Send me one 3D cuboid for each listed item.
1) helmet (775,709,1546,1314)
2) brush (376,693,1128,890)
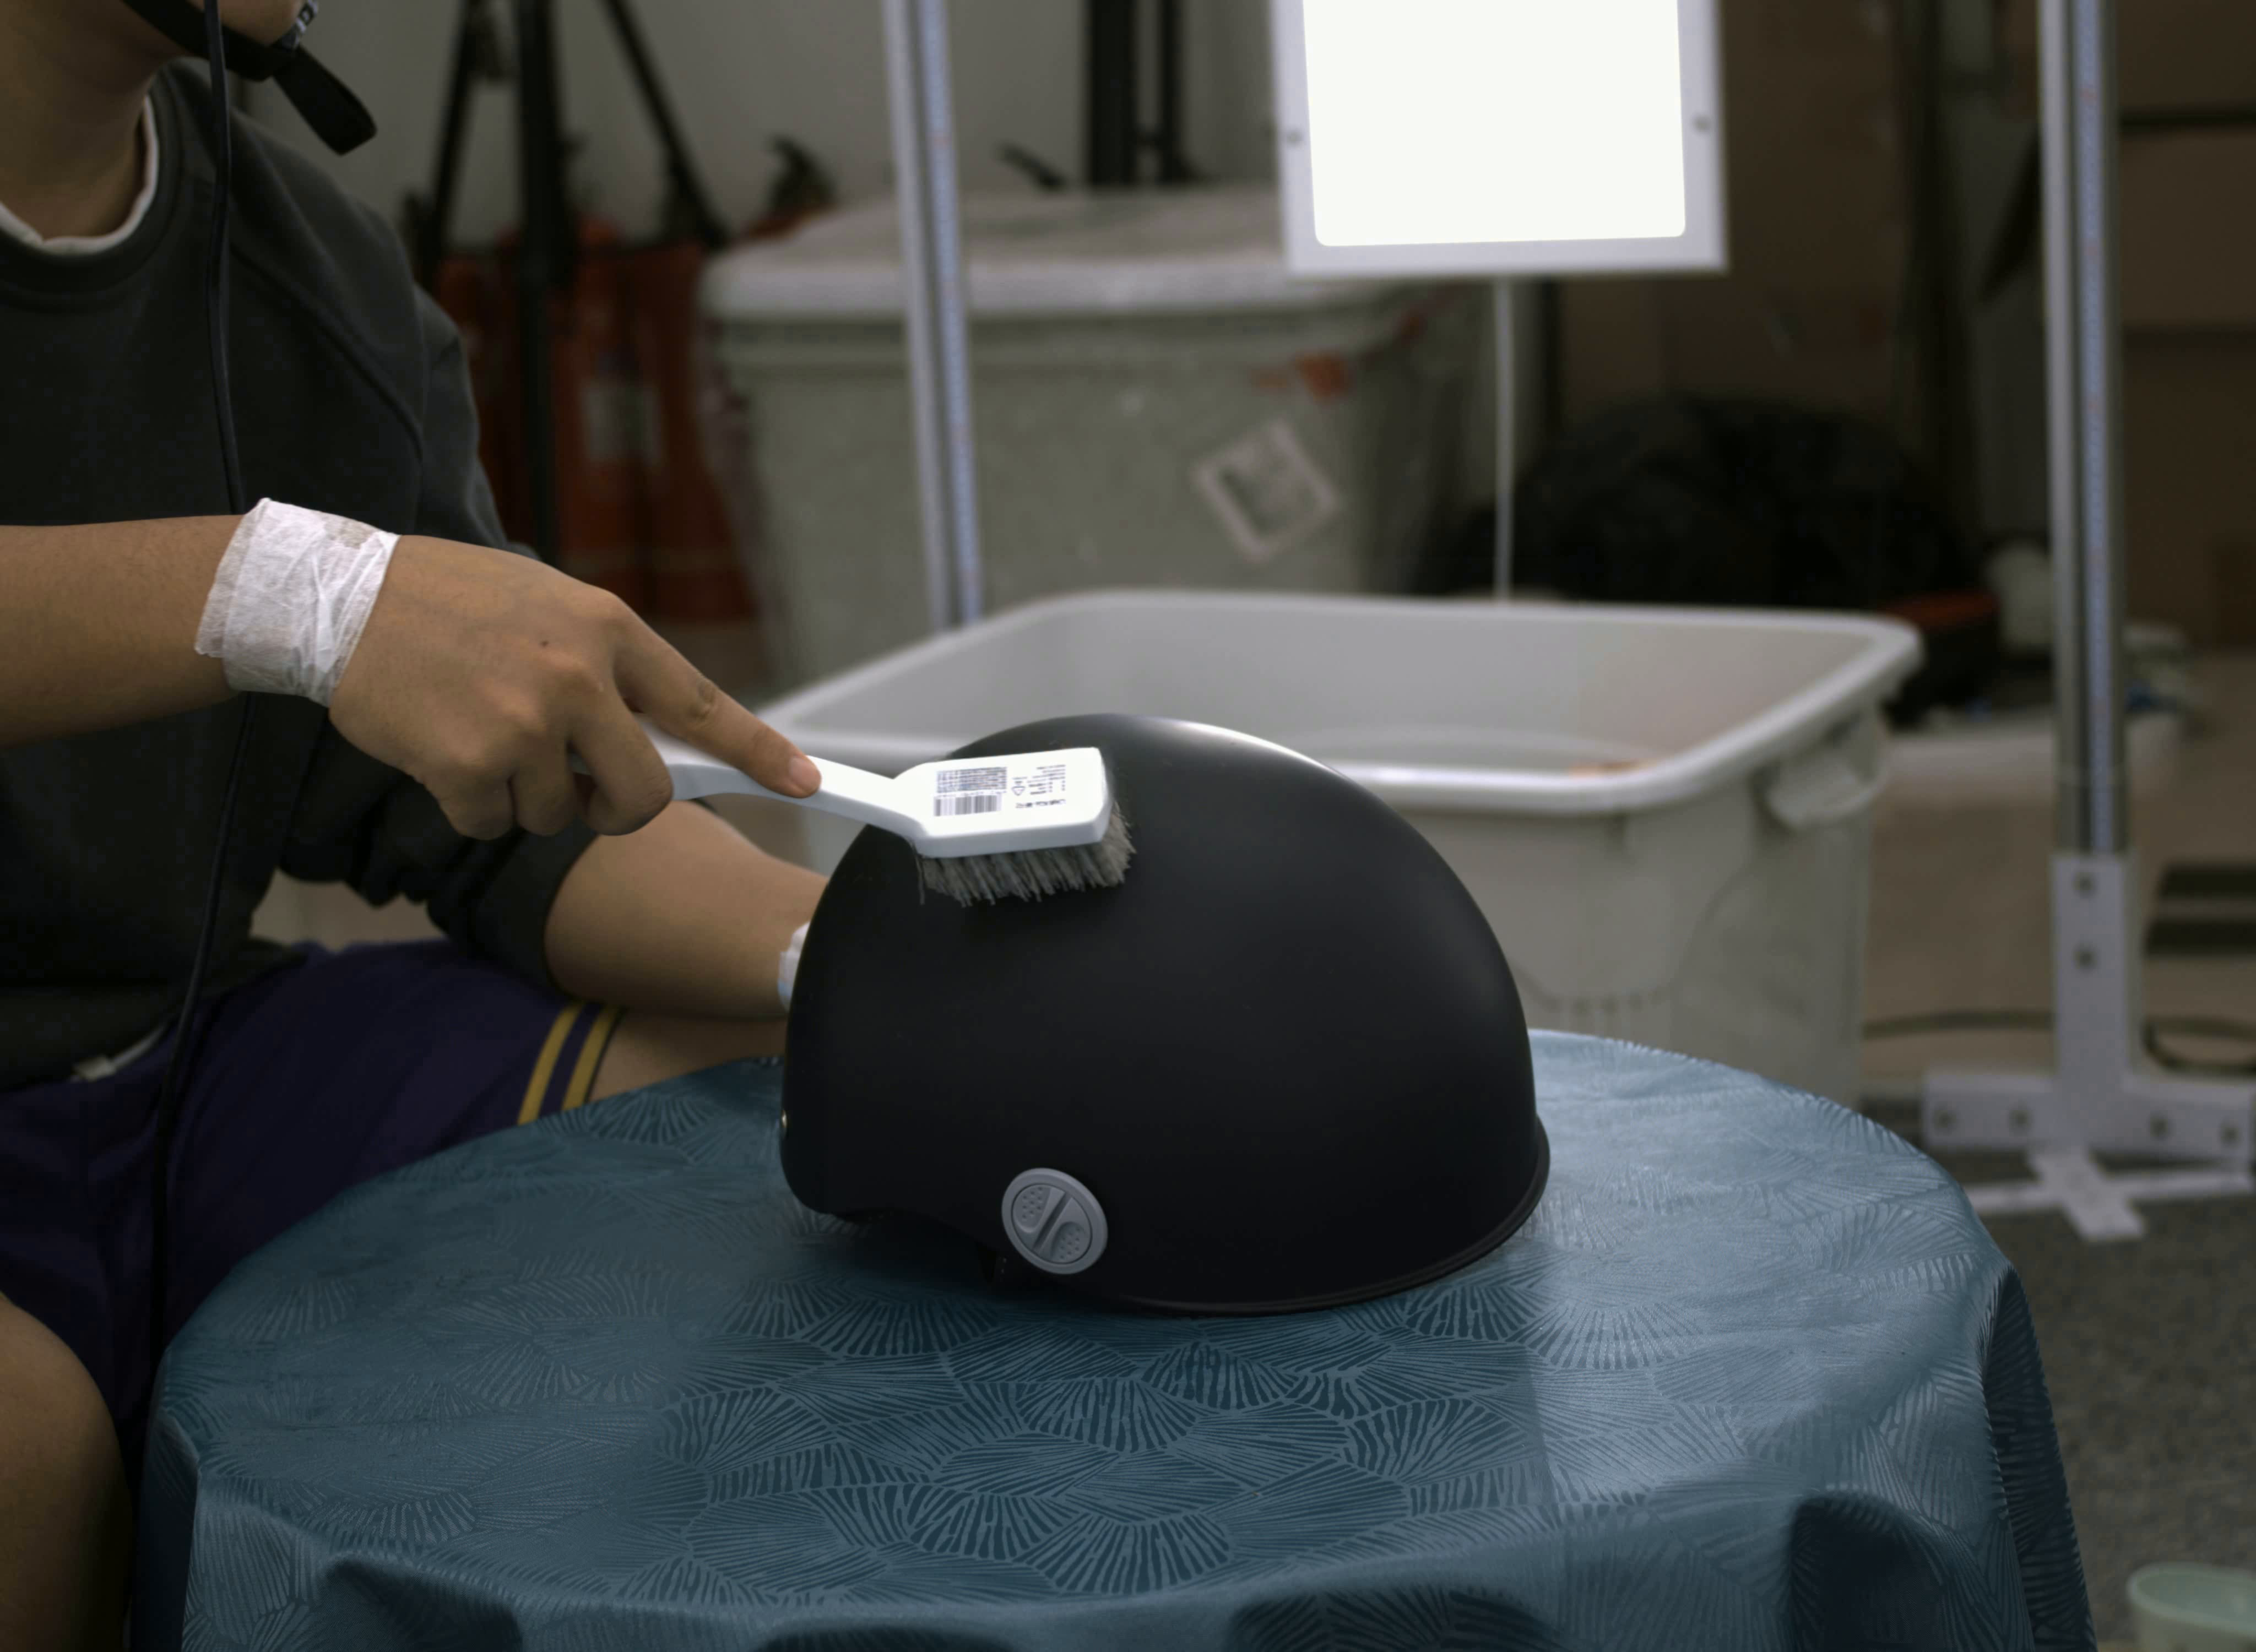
[{"bbox_3d":[0.006,0.049,1.844,0.279,0.167,0.224,13,30,40],"label":"helmet"},{"bbox_3d":[-0.118,-0.011,1.749,0.241,0.051,0.034,5,47,-7],"label":"brush"}]
